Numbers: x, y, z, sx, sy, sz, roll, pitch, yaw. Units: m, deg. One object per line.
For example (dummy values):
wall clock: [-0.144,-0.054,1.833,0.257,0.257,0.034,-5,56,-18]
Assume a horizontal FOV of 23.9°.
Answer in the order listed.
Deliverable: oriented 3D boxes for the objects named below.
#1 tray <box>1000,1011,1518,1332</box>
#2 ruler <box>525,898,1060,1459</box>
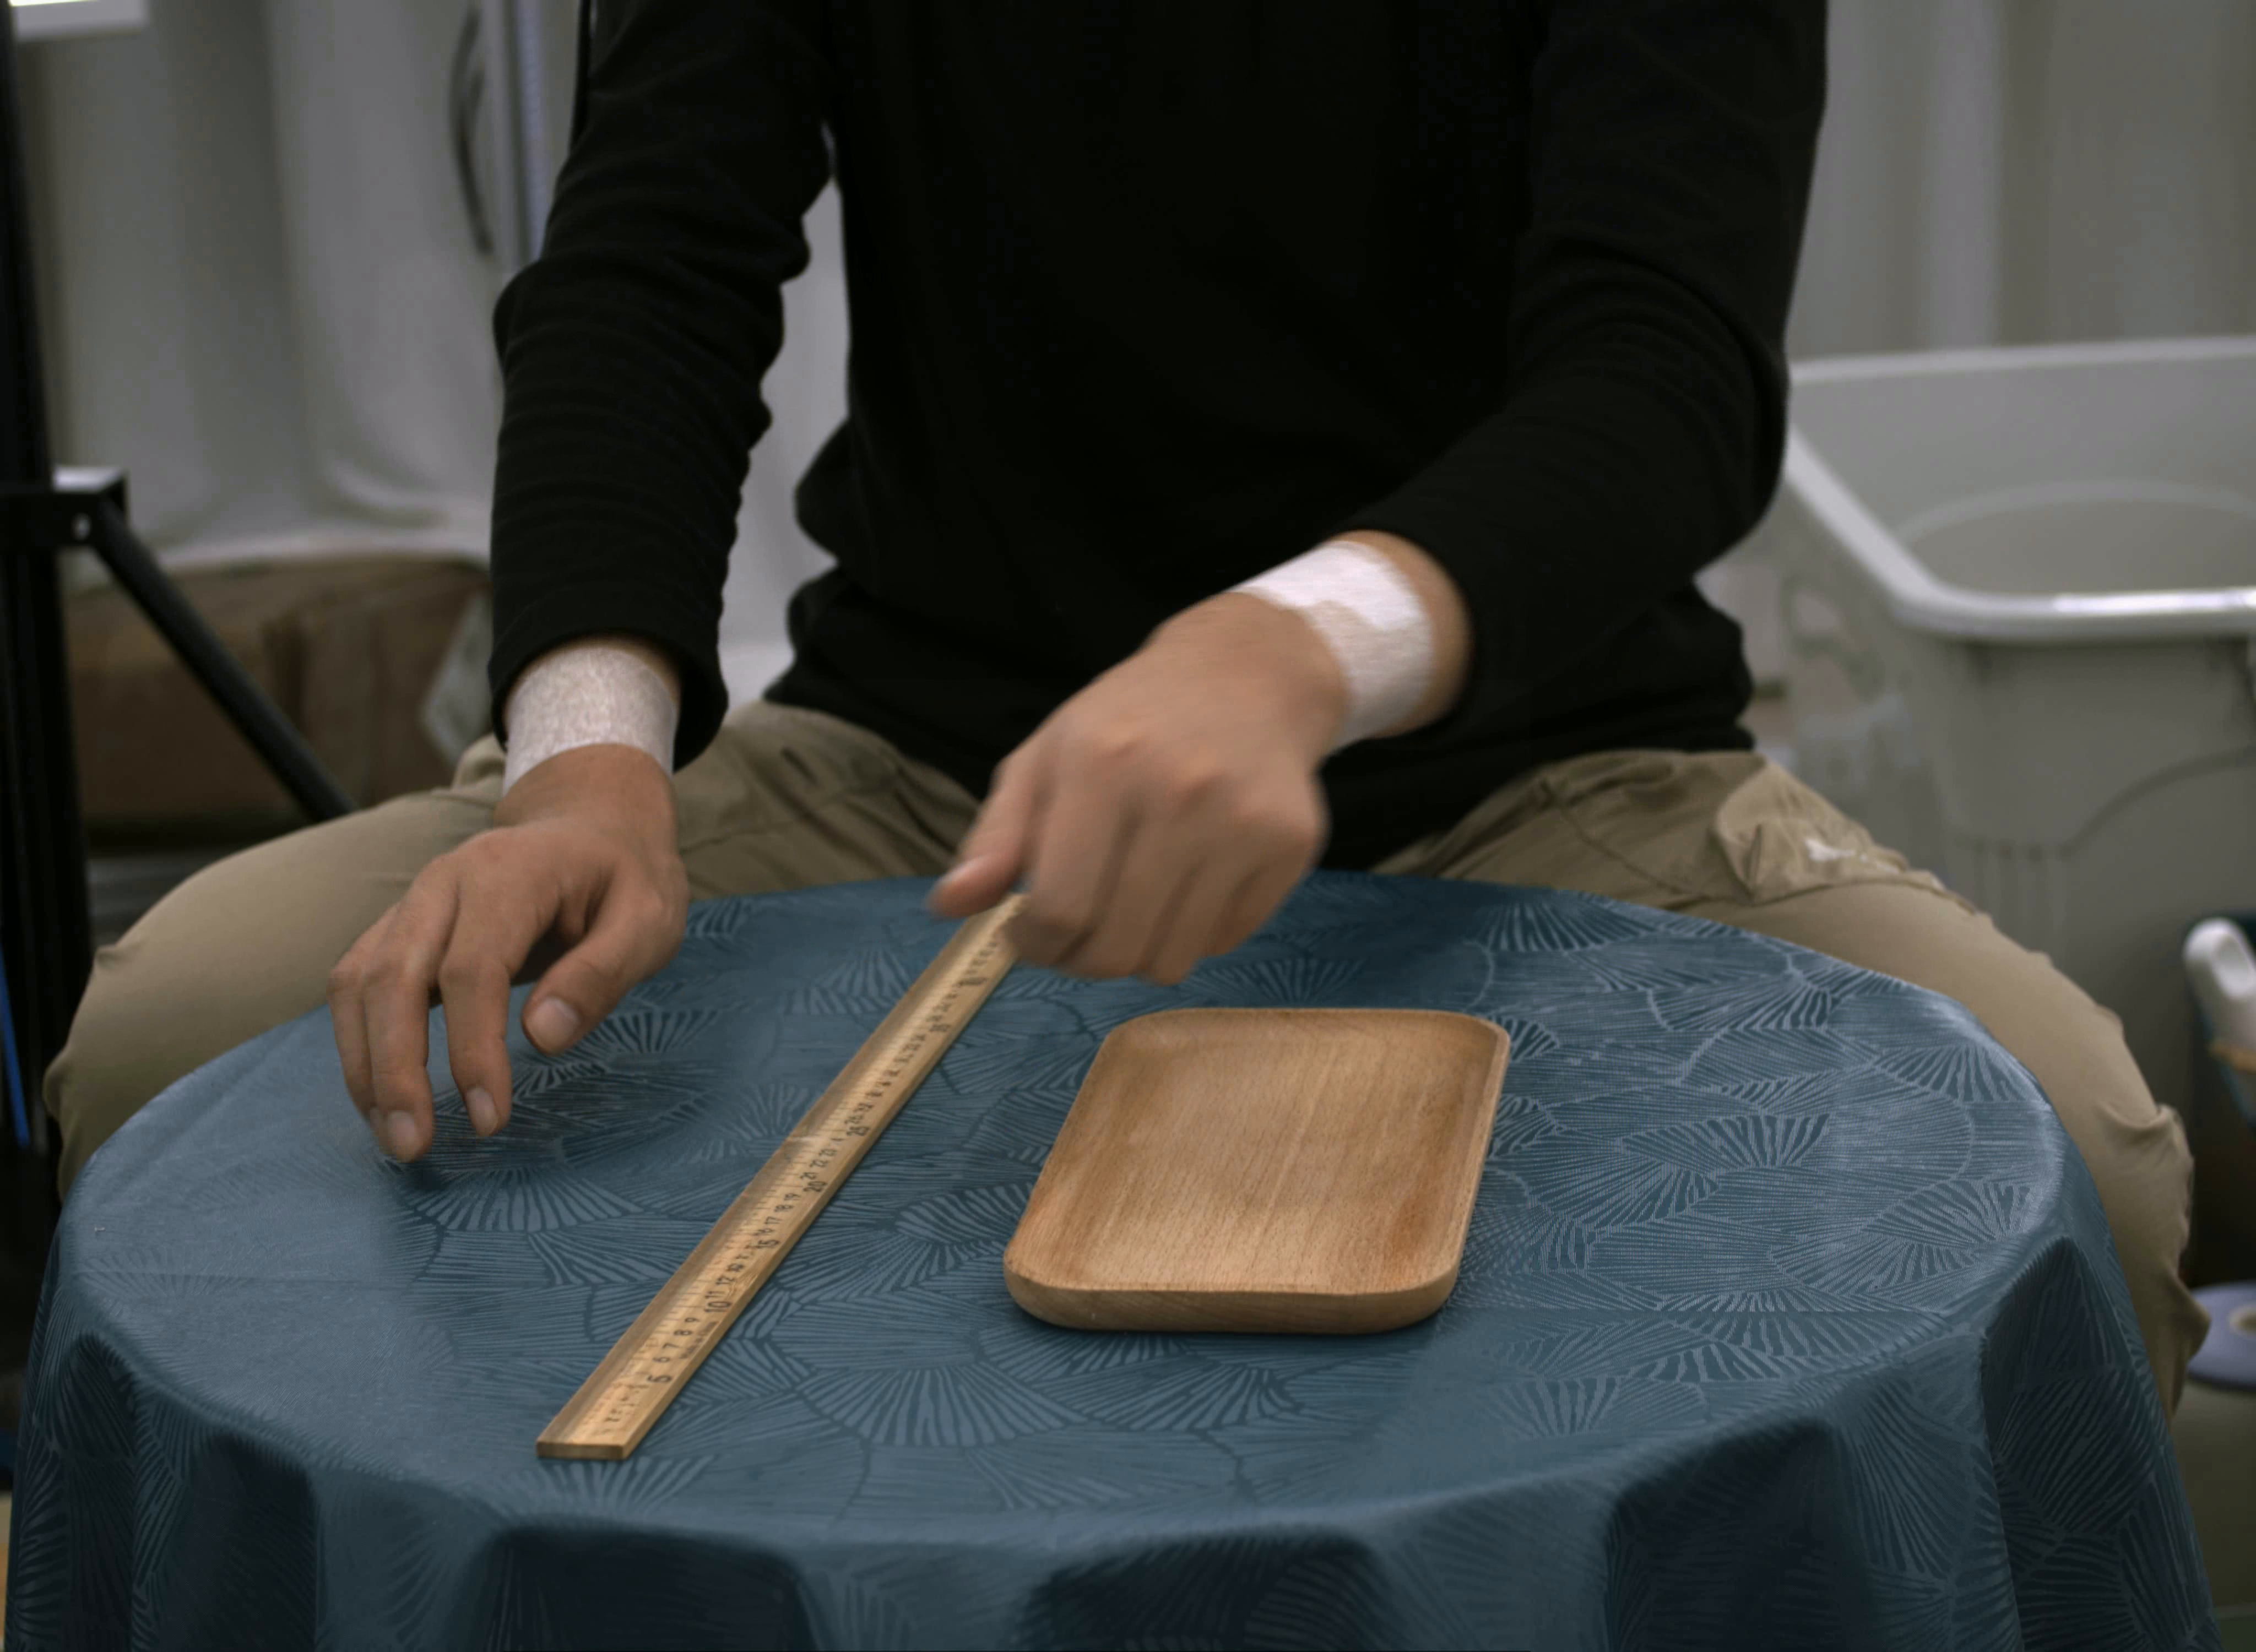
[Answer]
tray: [0.043,0.098,1.554,0.131,0.023,0.249,2,15,10]
ruler: [-0.089,0.095,1.611,0.027,0.006,0.497,3,16,13]
